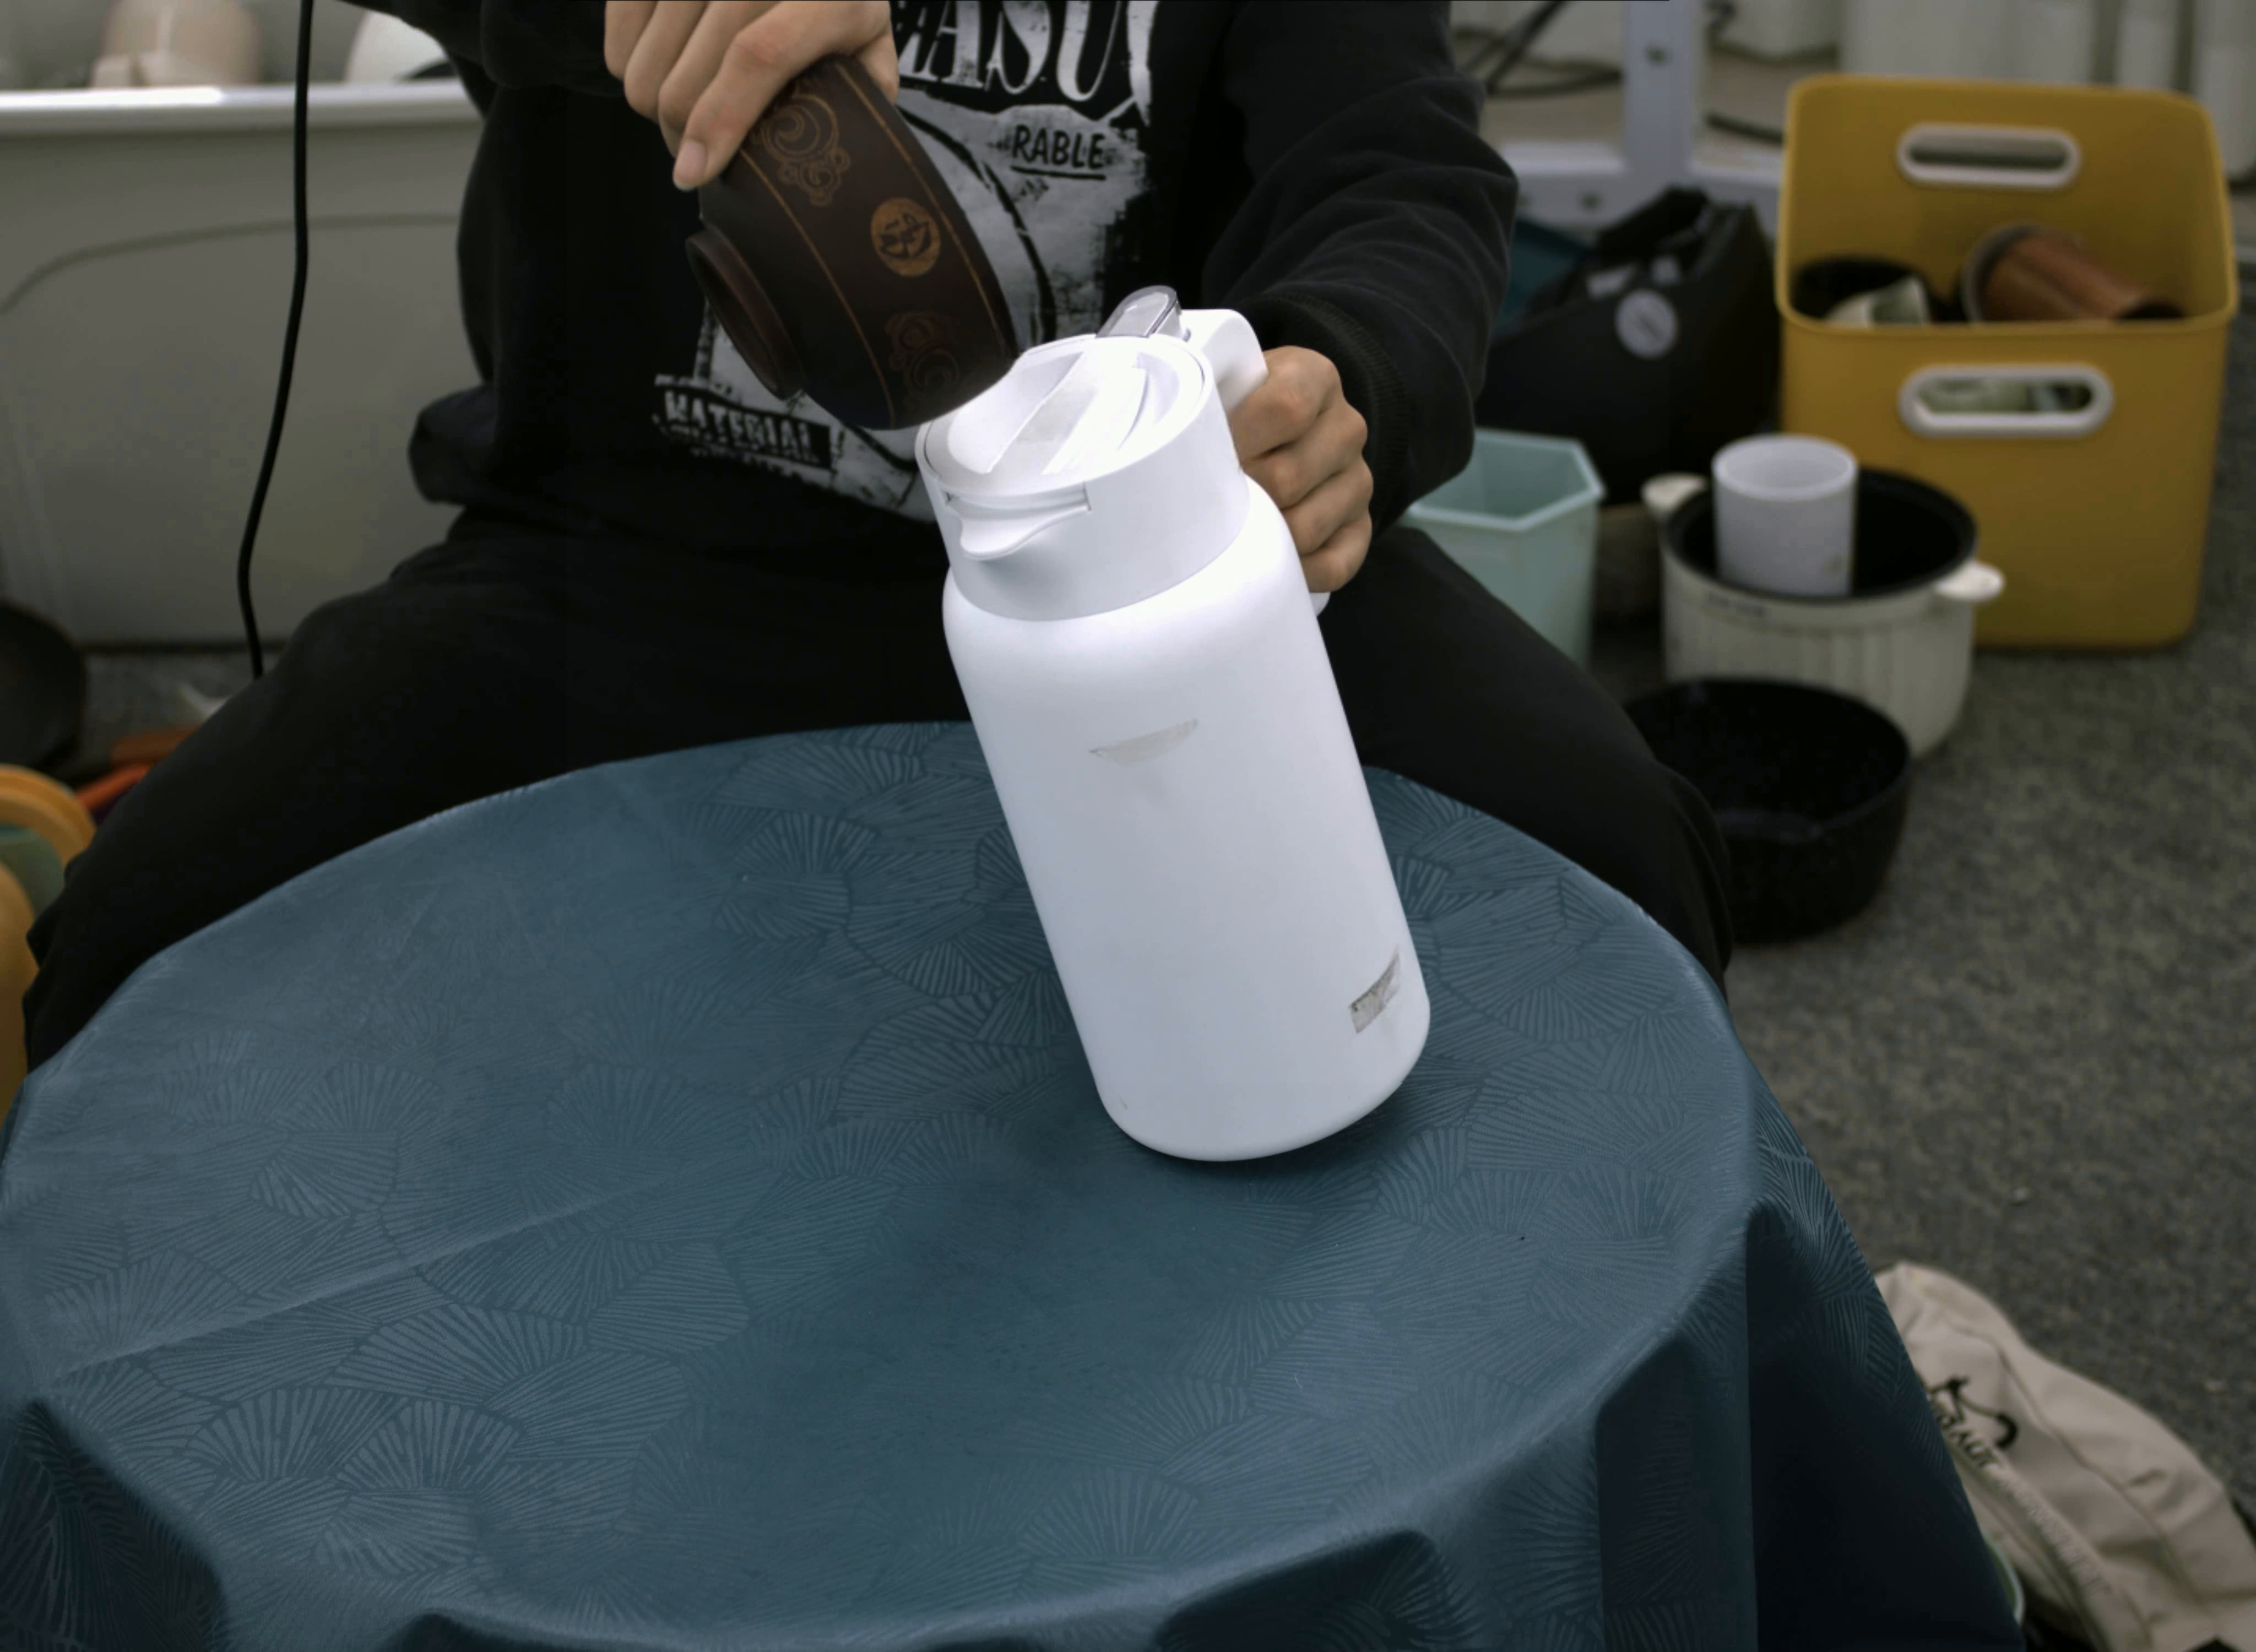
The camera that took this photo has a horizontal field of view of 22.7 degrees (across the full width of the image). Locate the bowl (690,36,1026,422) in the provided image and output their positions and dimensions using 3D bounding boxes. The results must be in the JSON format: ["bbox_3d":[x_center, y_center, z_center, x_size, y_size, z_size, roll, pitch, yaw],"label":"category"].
[{"bbox_3d":[-0.091,-0.175,1.731,0.070,0.117,0.119,-33,34,-10],"label":"bowl"}]

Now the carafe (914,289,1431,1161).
[{"bbox_3d":[0.019,-0.036,1.855,0.122,0.266,0.176,-2,34,29],"label":"carafe"}]
